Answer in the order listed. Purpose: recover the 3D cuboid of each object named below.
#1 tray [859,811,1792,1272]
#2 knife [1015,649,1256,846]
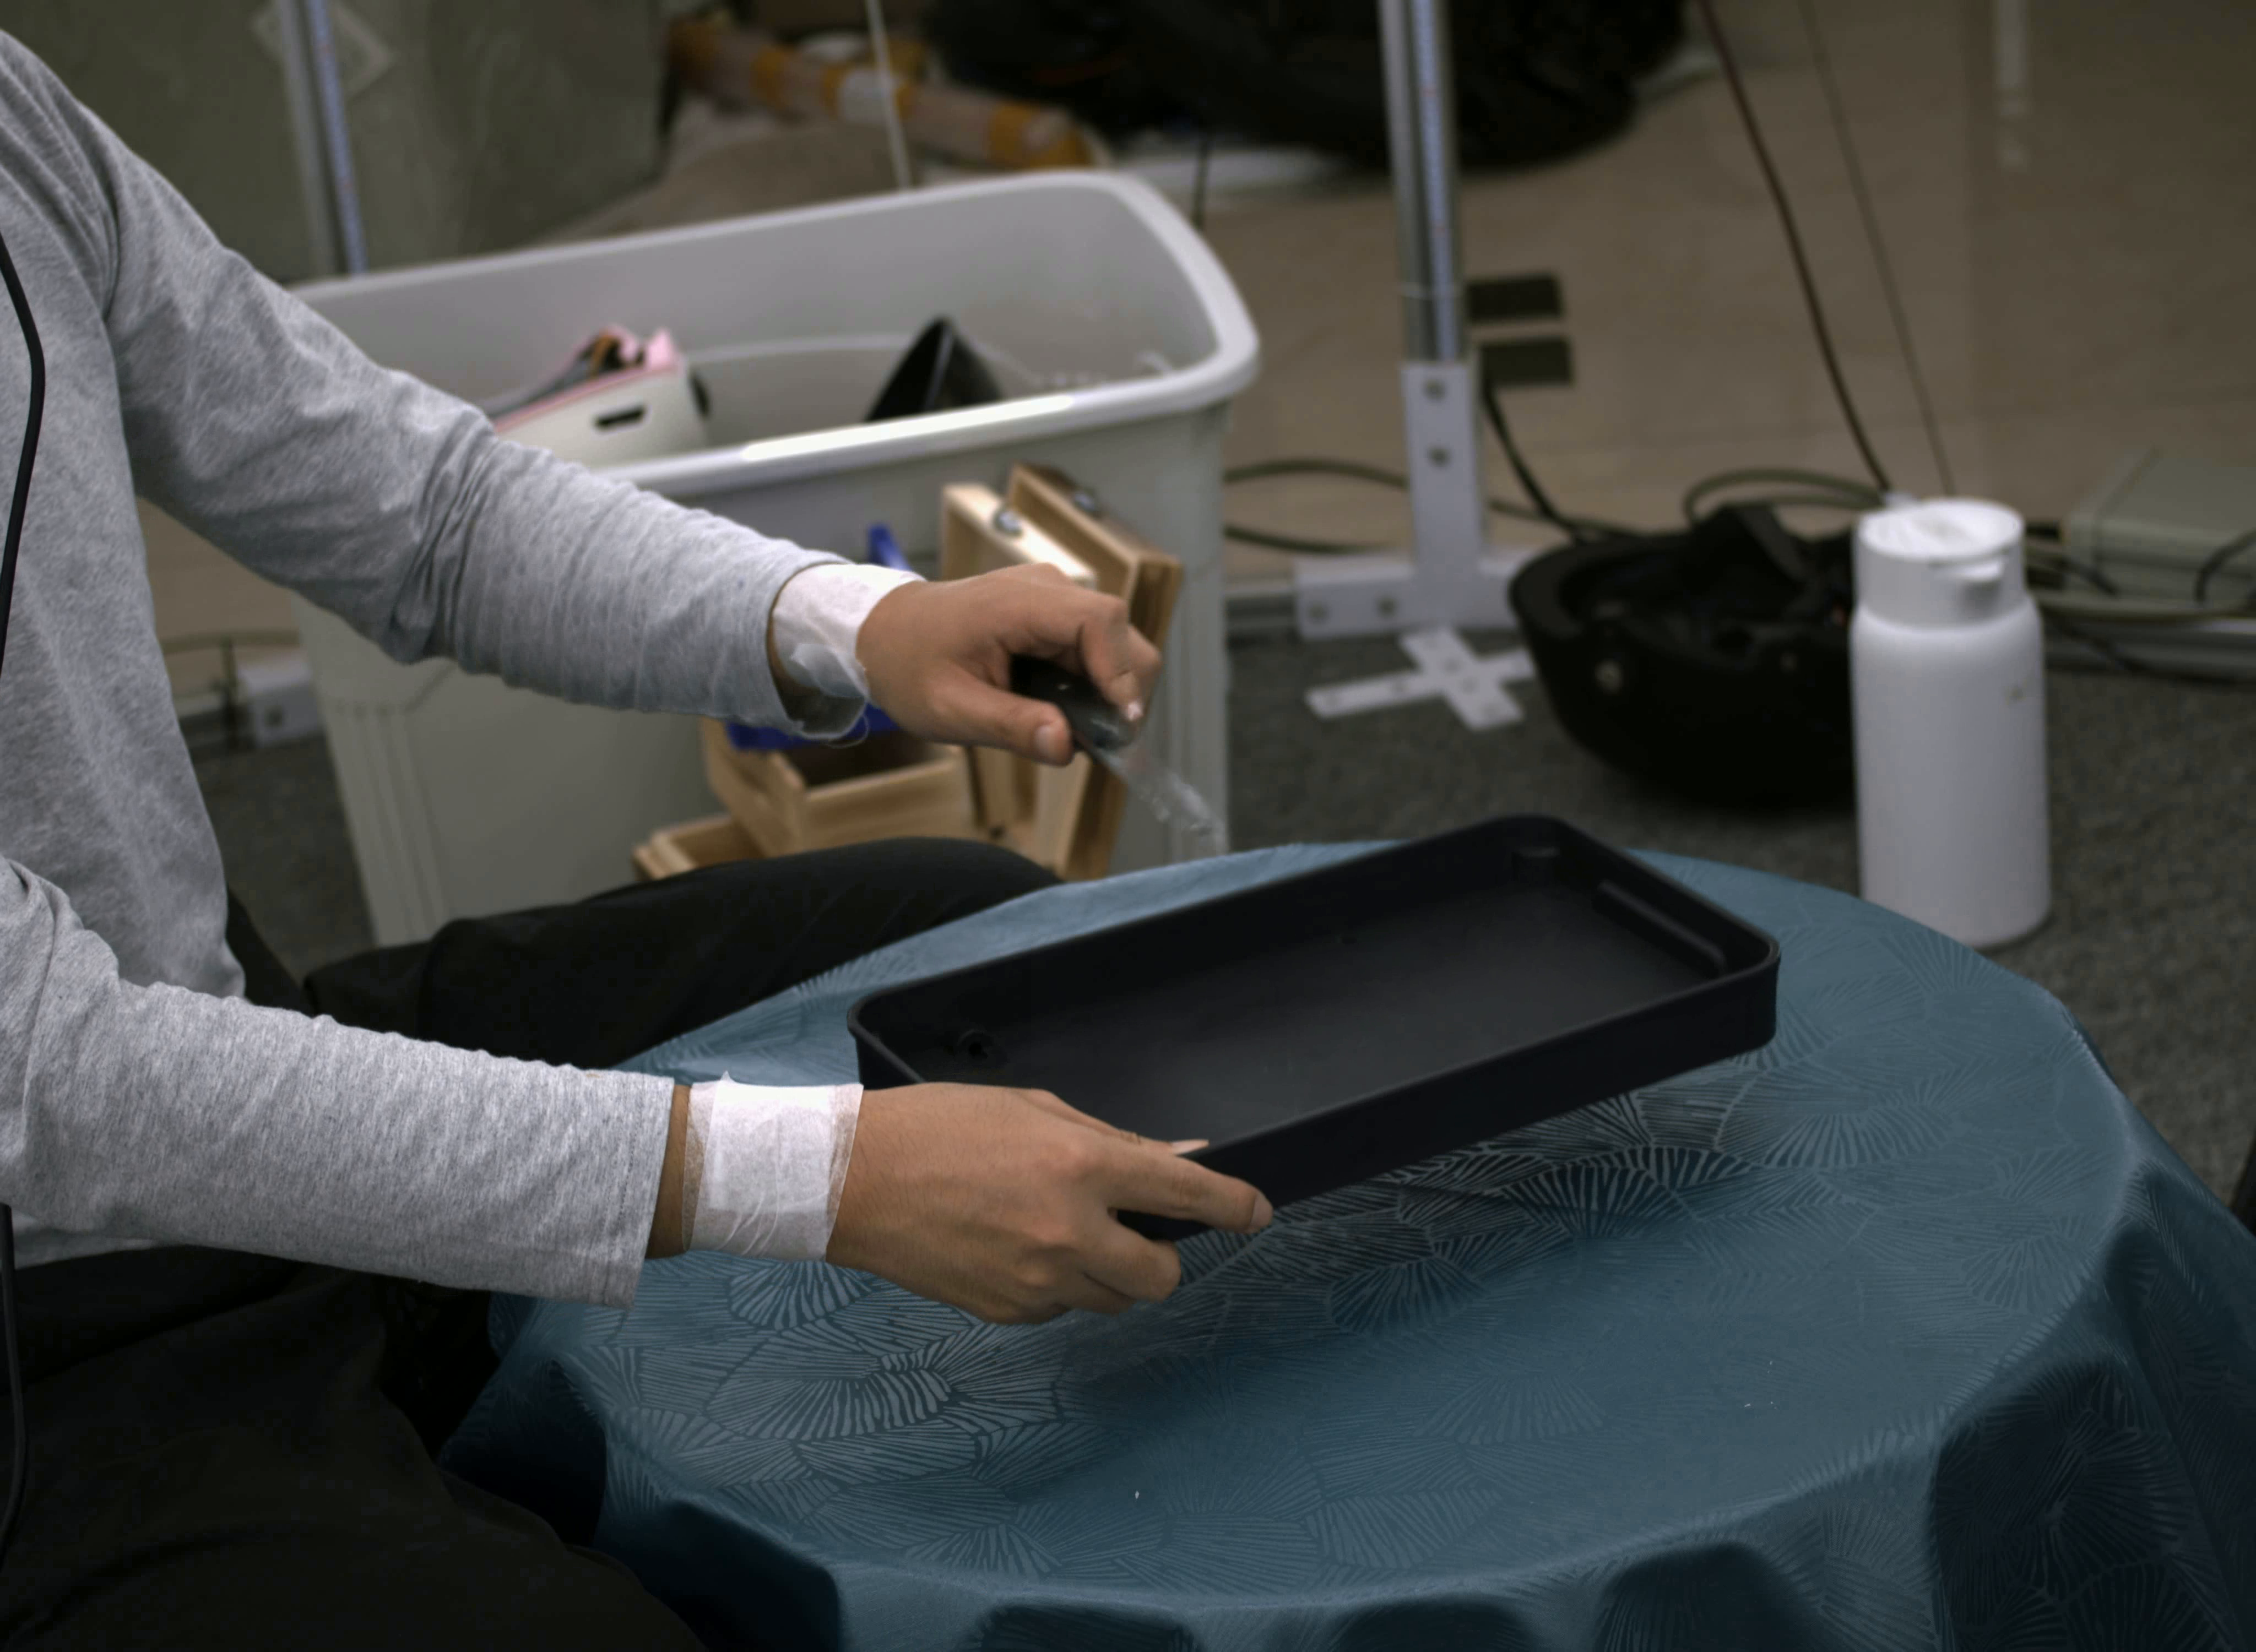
[{"bbox_3d":[0.074,0.075,2.115,0.316,0.037,0.182,-17,27,-25],"label":"tray"},{"bbox_3d":[0.001,-0.029,2.115,0.024,0.016,0.235,0,18,-21],"label":"knife"}]
